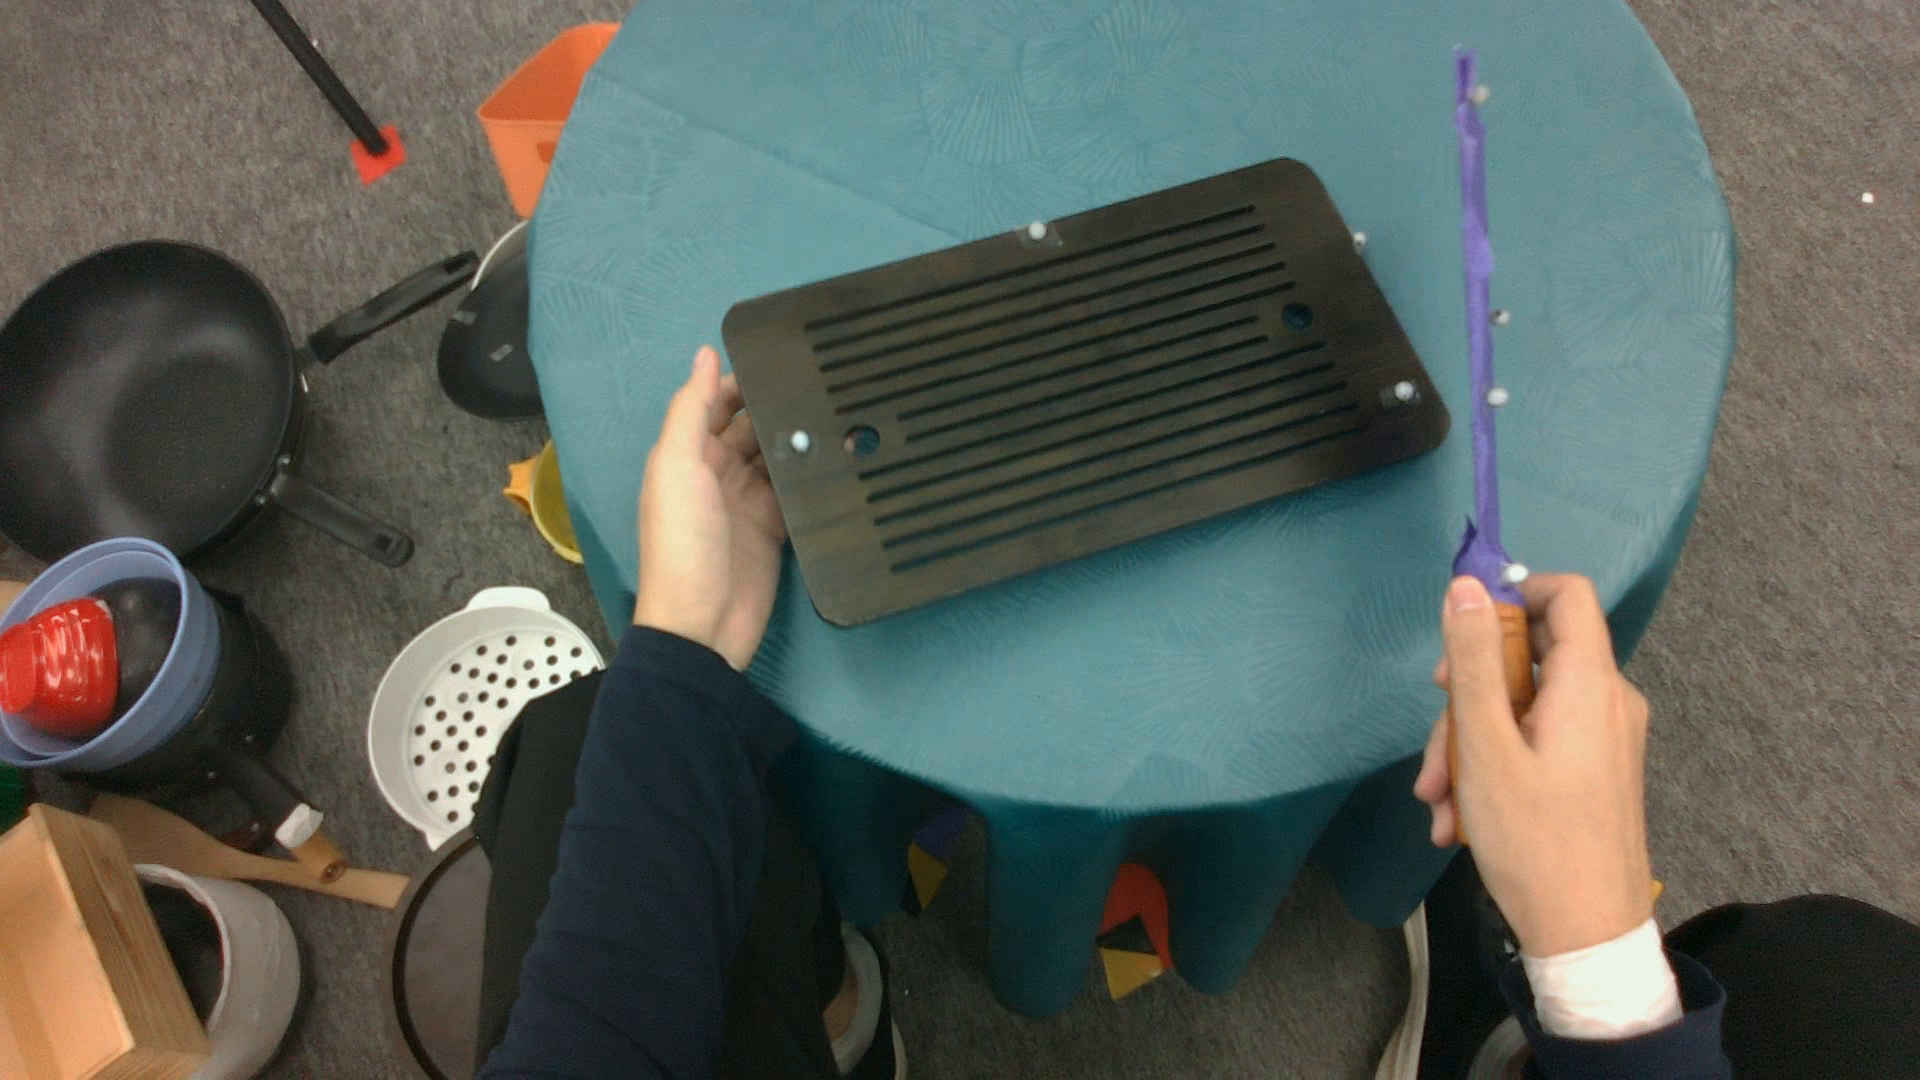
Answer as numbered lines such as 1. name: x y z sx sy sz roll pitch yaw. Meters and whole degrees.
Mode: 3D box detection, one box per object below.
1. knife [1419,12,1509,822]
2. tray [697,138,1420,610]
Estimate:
1. knife: 0.210 -0.047 0.561 0.032 0.104 0.315 0 83 26
2. tray: 0.047 -0.084 0.638 0.306 0.018 0.170 -17 69 -12
